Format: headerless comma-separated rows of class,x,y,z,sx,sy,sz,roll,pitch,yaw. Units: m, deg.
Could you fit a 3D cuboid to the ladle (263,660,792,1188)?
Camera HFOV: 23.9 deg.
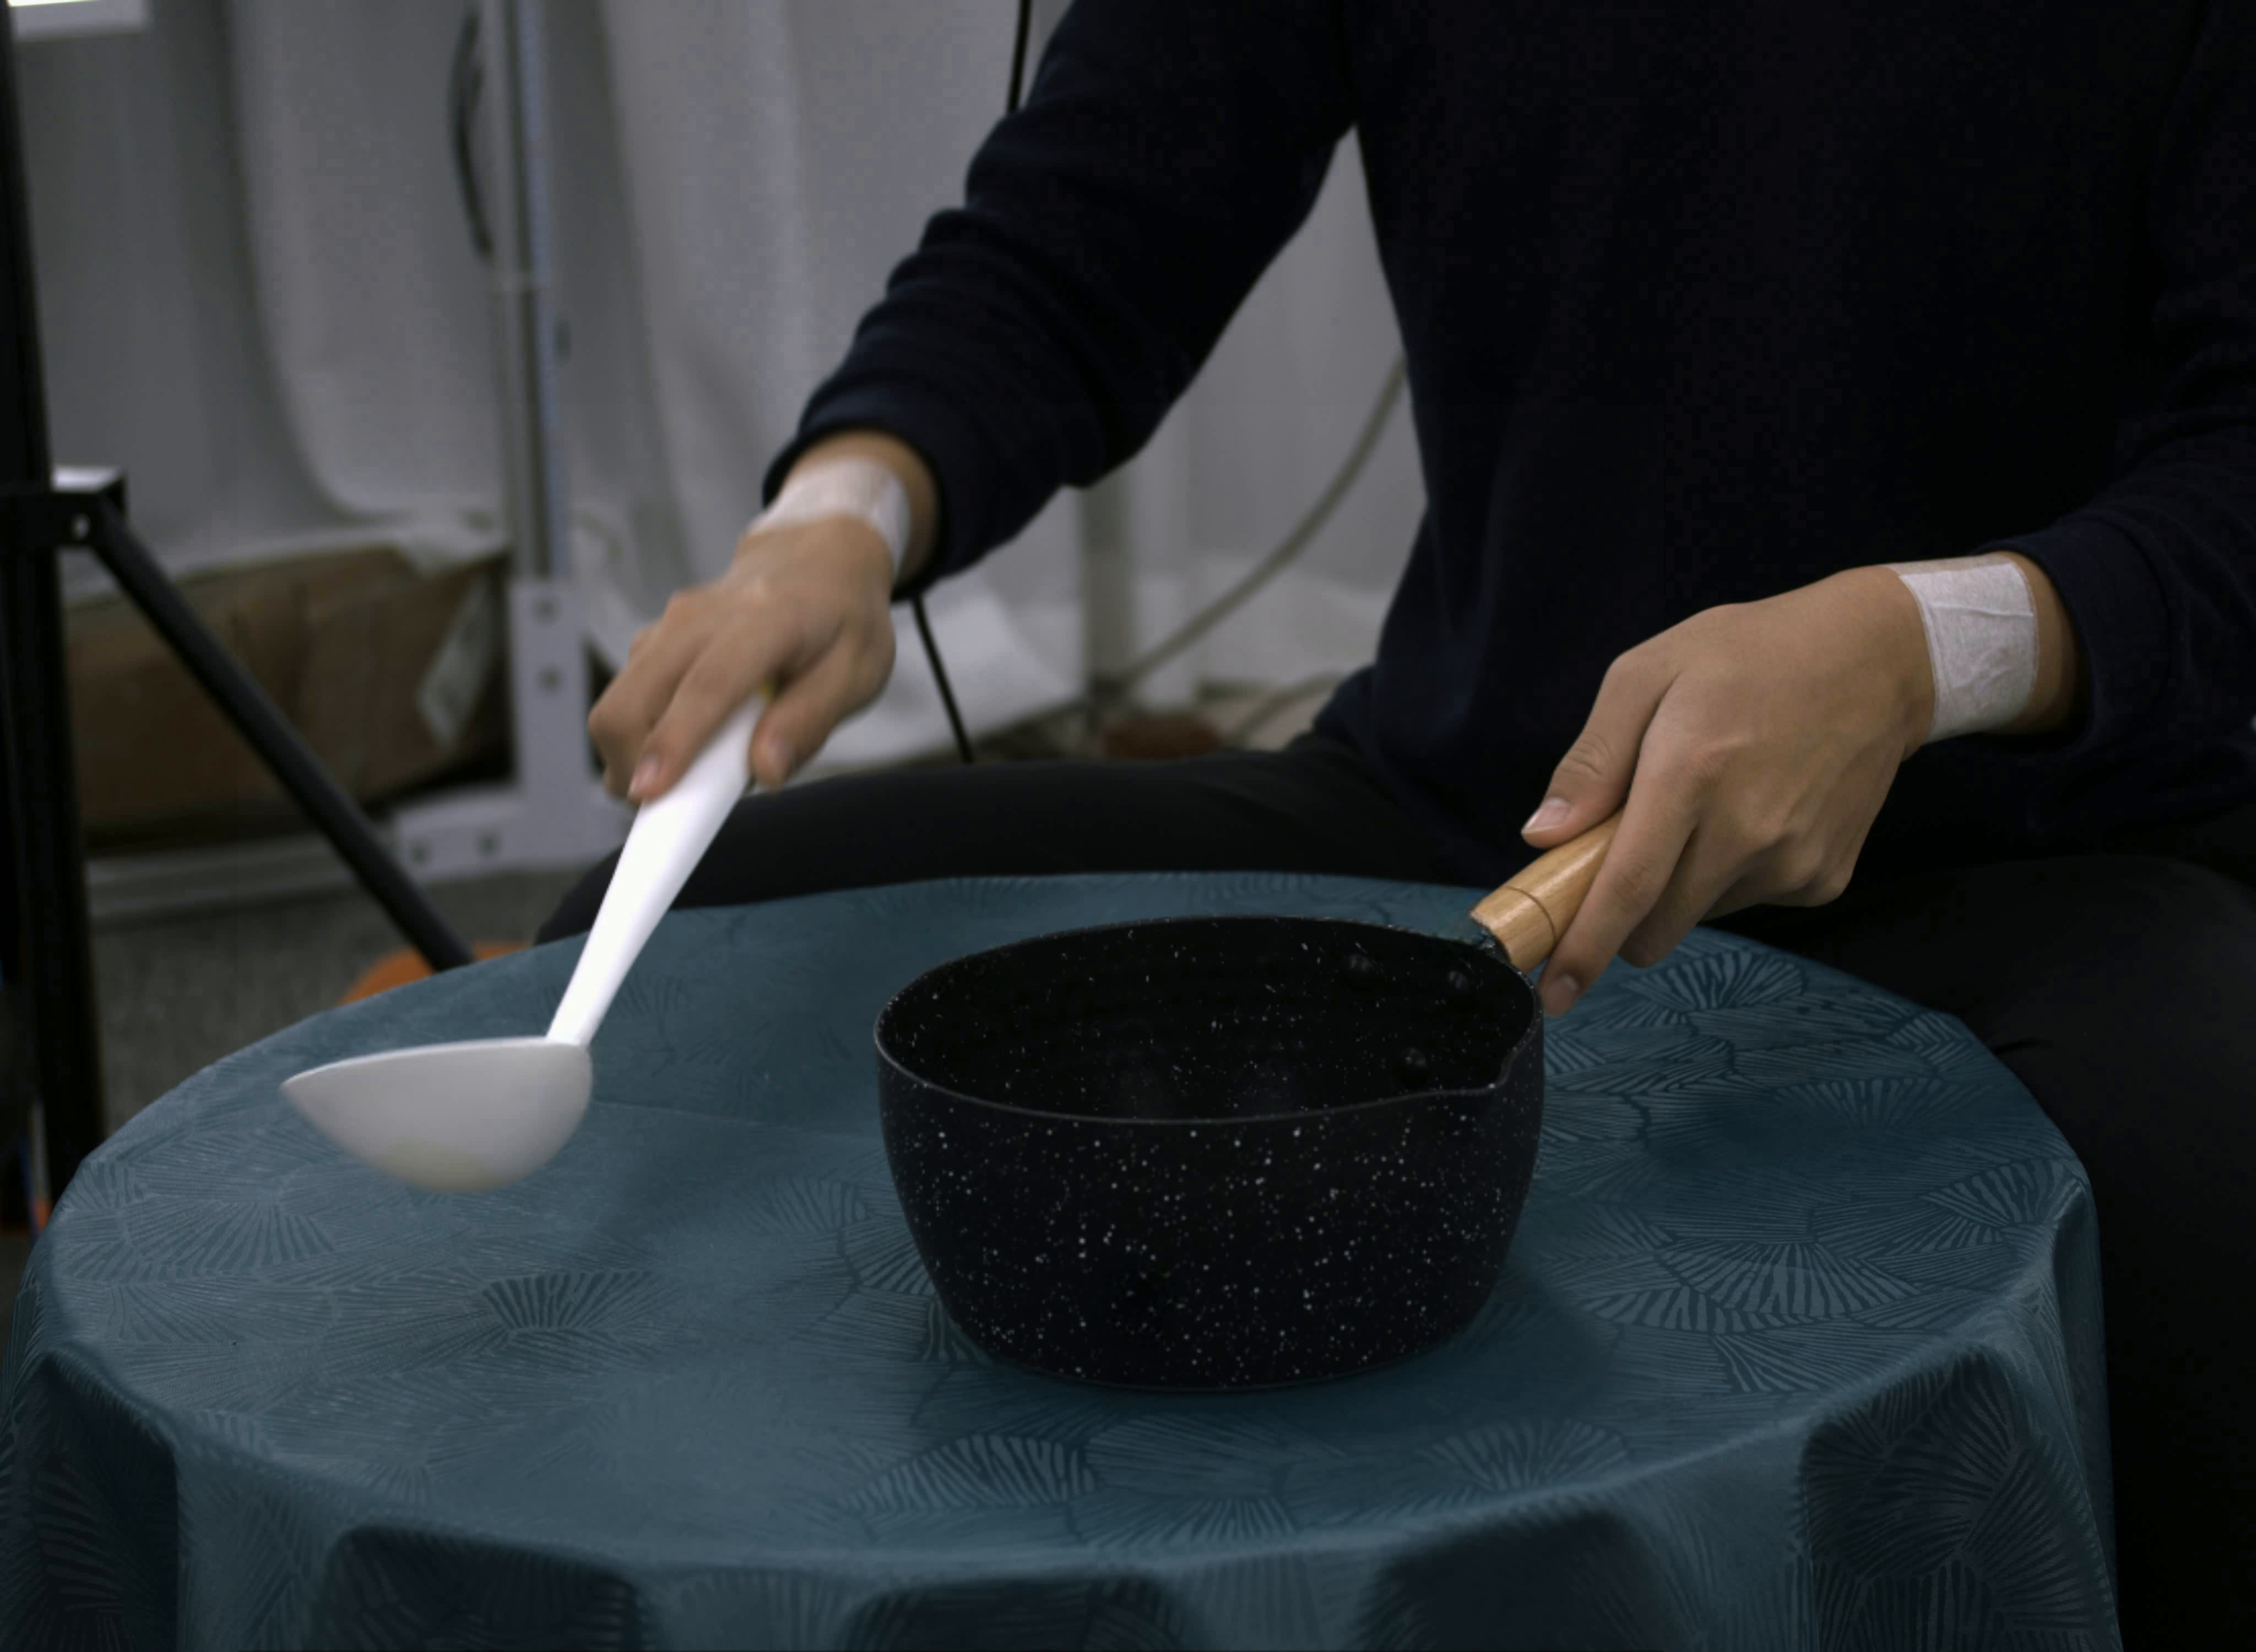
ladle,-0.164,0.017,1.571,0.091,0.069,0.292,-20,22,26

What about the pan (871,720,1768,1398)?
pan,0.075,0.061,1.512,0.212,0.108,0.335,10,22,41
